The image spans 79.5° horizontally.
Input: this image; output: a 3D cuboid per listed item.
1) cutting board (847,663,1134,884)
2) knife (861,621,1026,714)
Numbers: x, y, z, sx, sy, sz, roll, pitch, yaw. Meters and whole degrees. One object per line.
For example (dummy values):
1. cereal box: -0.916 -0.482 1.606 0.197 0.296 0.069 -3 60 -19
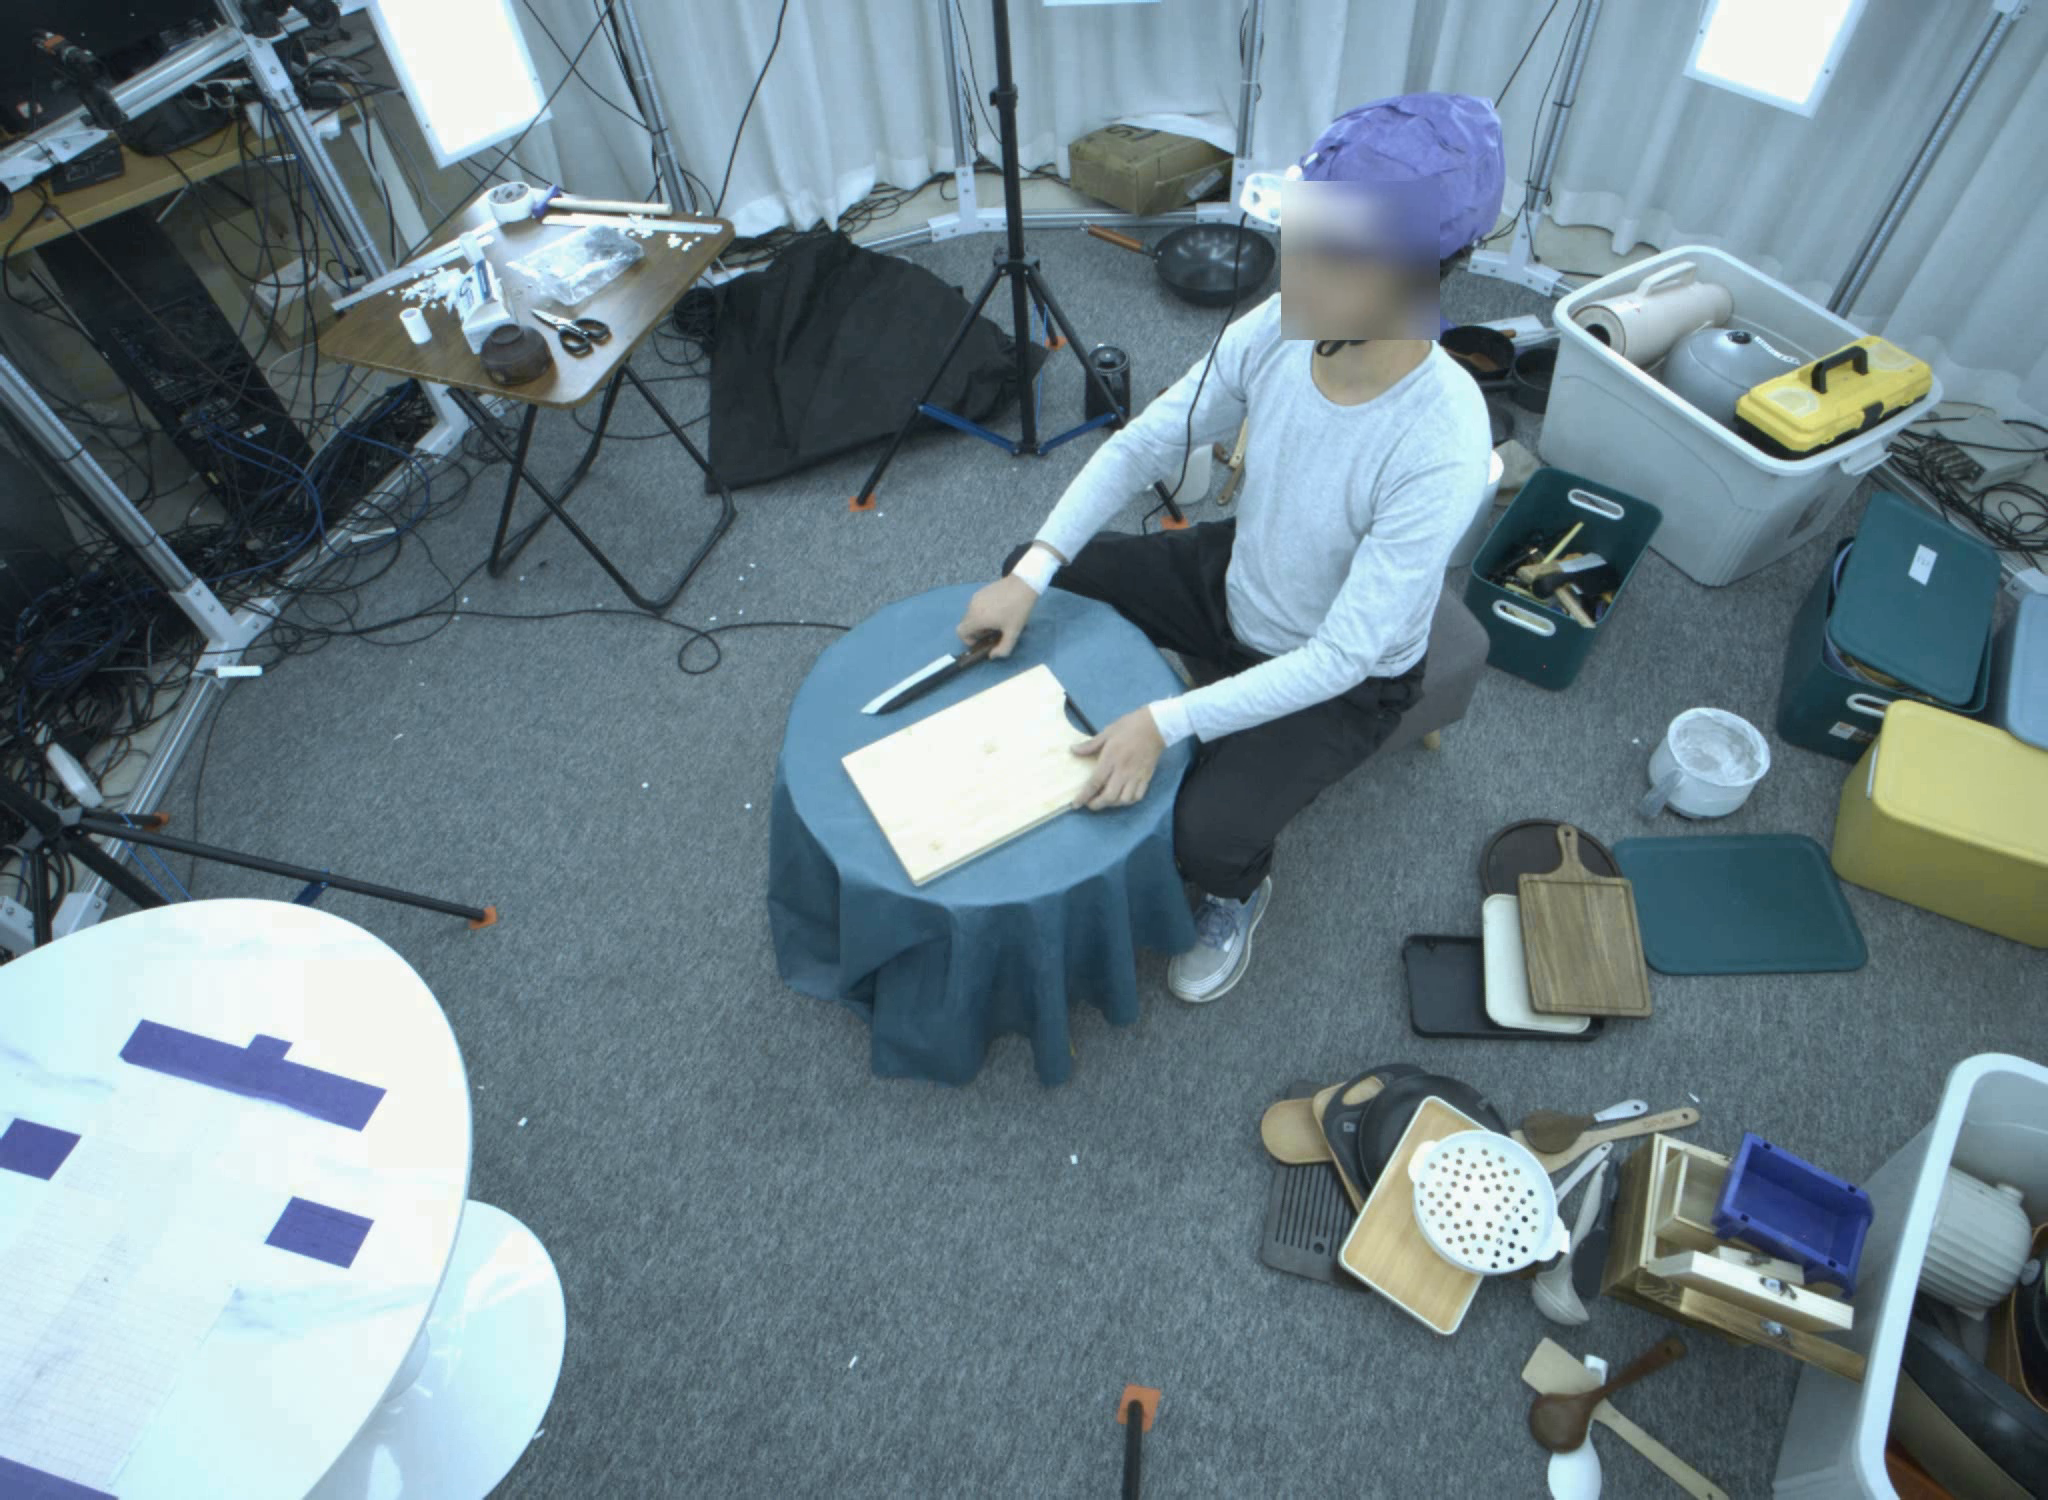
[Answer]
1. cutting board: -0.053 0.025 1.769 0.351 0.024 0.246 -26 58 -17
2. knife: -0.122 -0.125 1.877 0.291 0.020 0.049 -30 46 -16
